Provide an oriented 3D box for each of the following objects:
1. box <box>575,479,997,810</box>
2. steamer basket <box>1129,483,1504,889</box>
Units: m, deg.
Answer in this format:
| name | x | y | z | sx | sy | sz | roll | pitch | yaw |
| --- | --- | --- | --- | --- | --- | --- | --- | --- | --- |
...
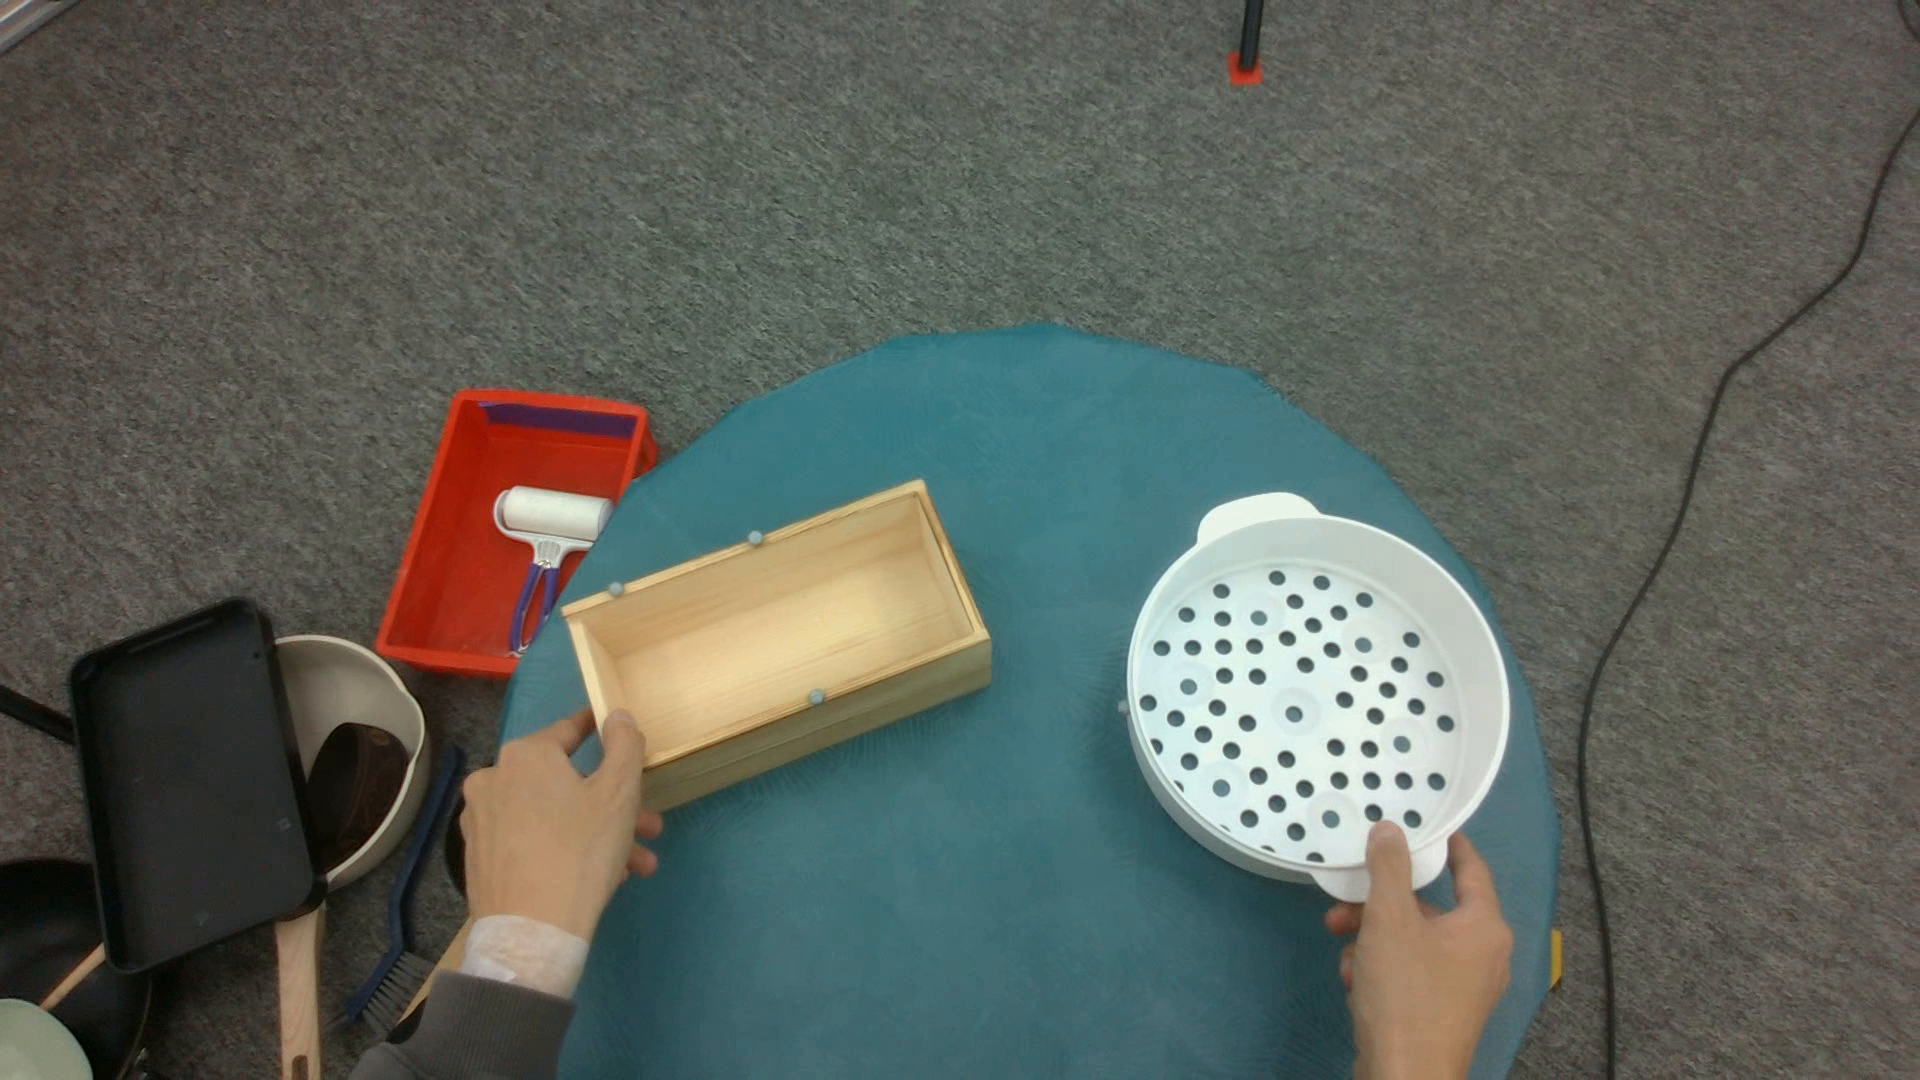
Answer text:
| name | x | y | z | sx | sy | sz | roll | pitch | yaw |
| --- | --- | --- | --- | --- | --- | --- | --- | --- | --- |
| box | -0.095 | 0.060 | 0.790 | 0.211 | 0.080 | 0.108 | -21 | 67 | -7 |
| steamer basket | 0.194 | 0.083 | 0.775 | 0.202 | 0.069 | 0.231 | -14 | 67 | -3 |
